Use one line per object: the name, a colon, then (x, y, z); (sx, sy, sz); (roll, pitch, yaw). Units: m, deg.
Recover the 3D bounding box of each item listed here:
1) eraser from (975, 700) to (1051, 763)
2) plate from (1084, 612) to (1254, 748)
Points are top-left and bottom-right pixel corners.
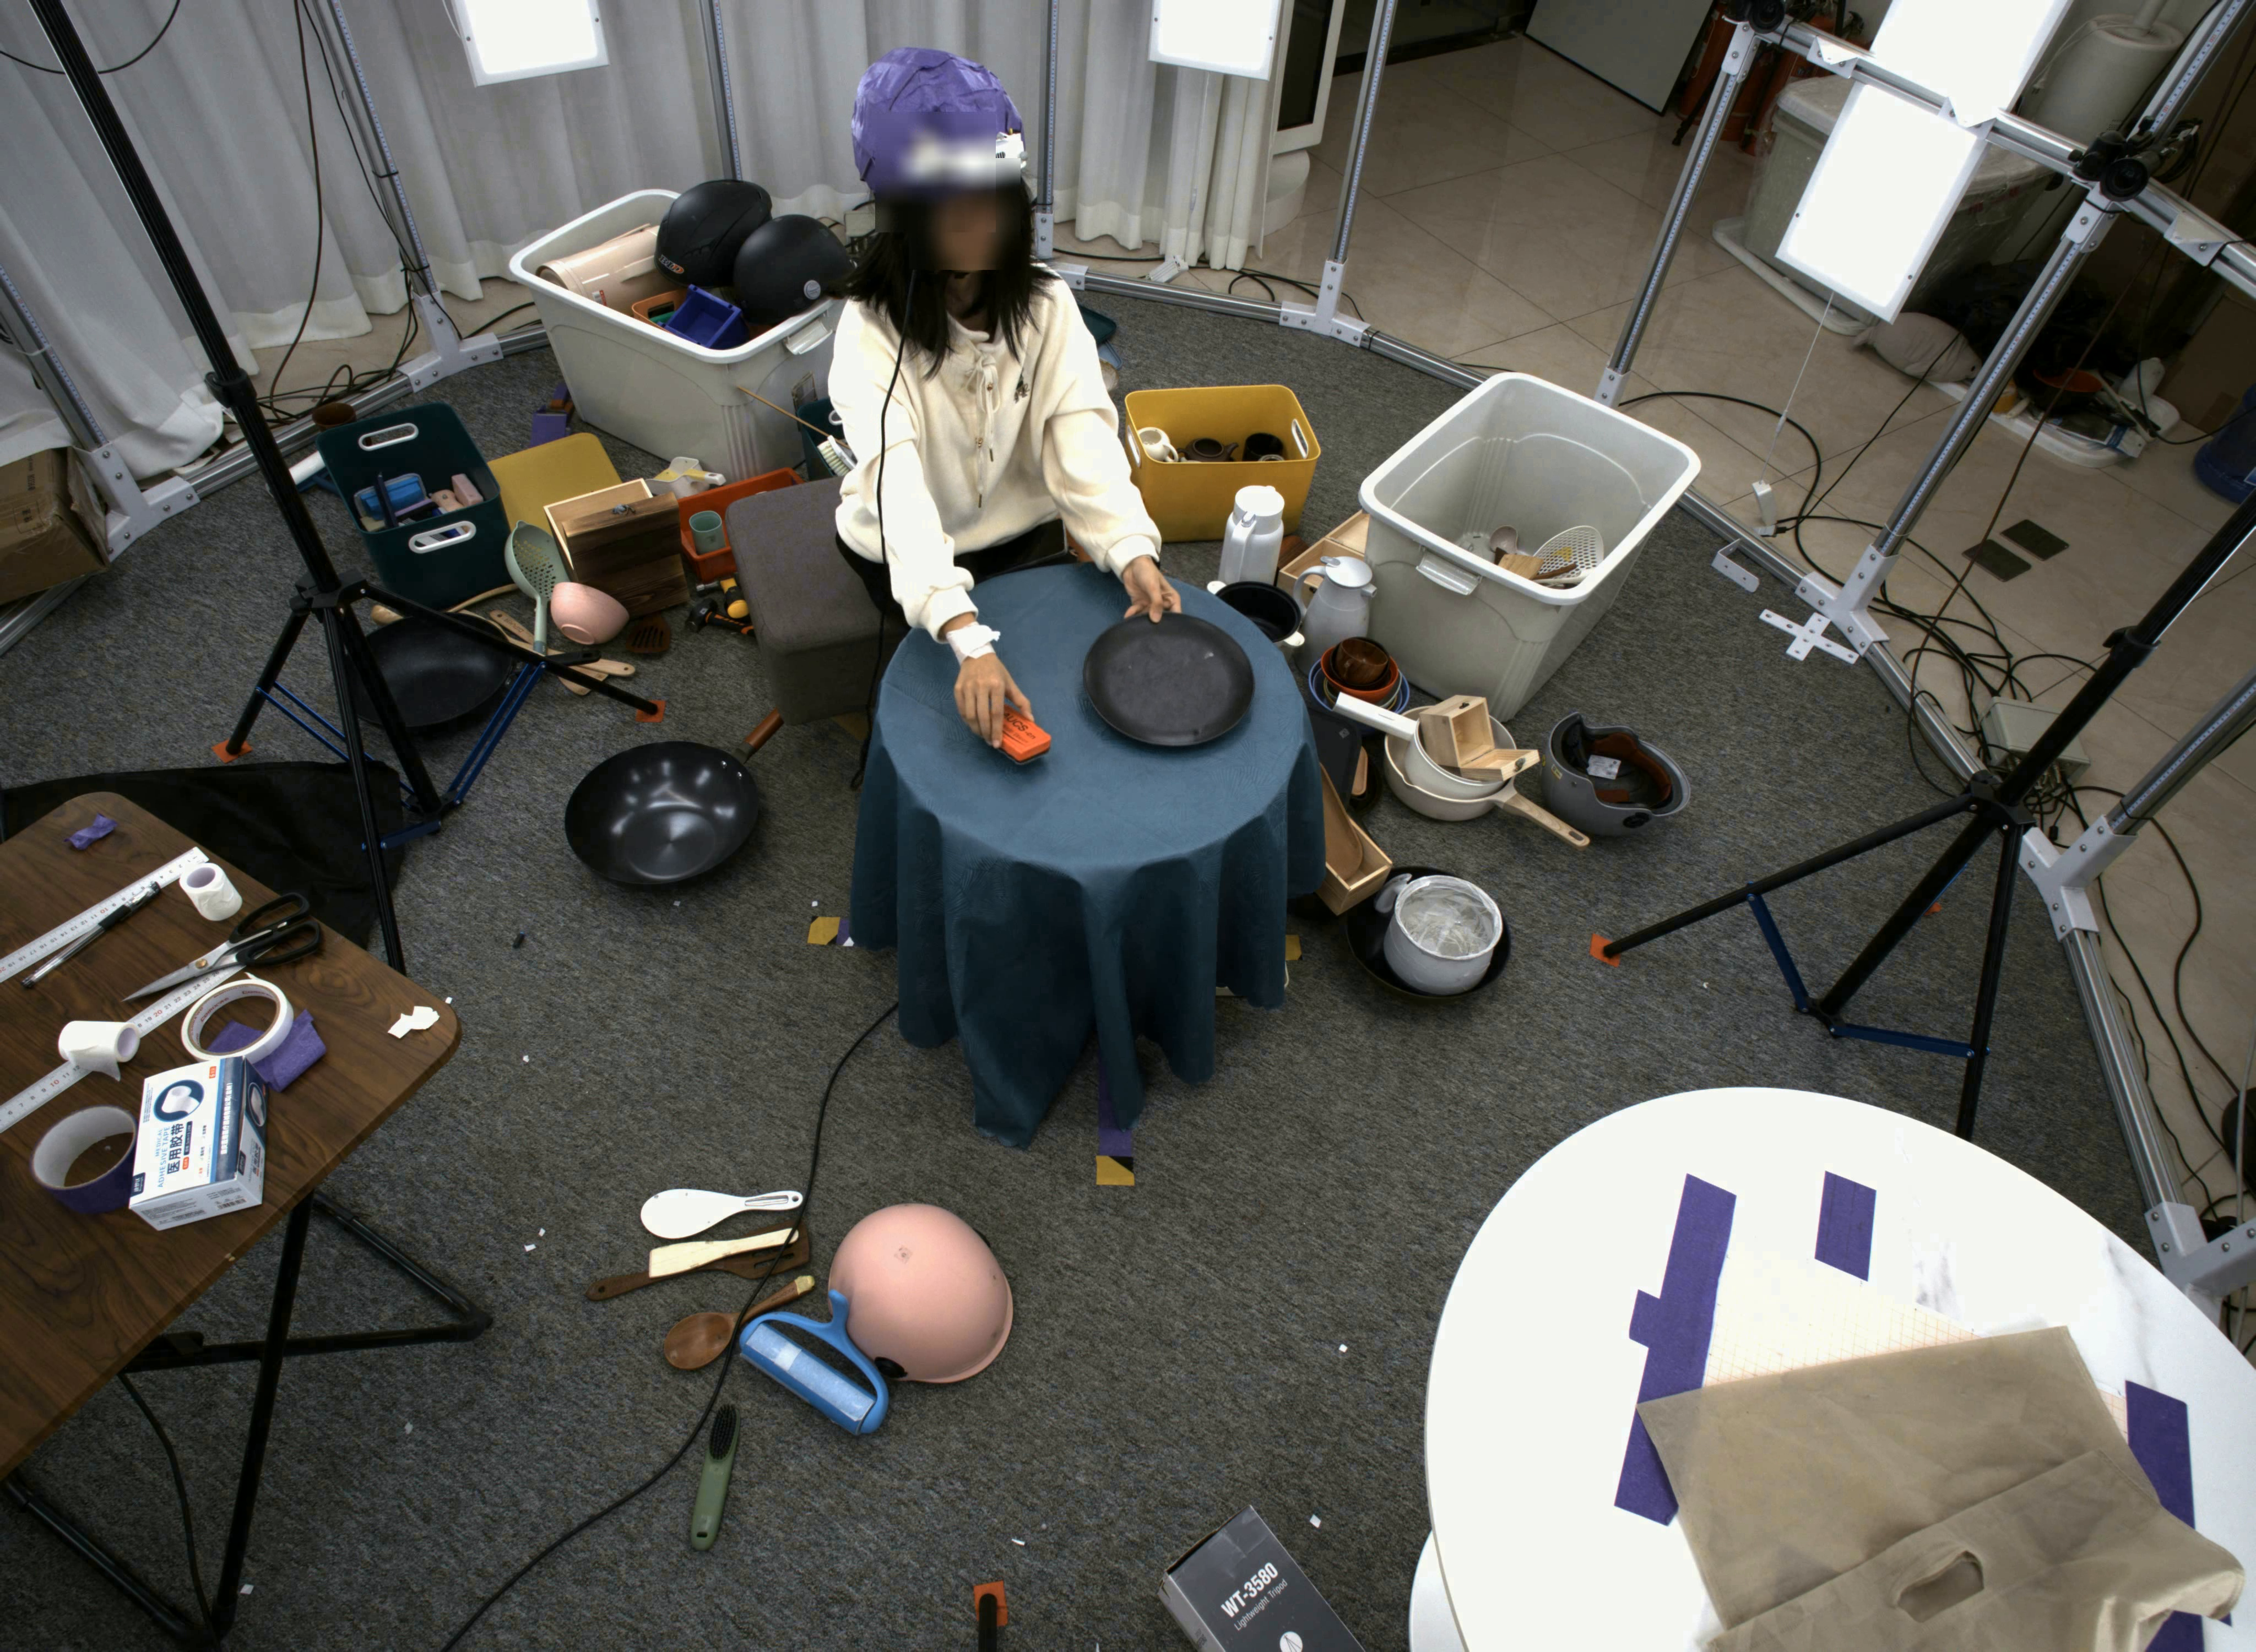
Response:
eraser: (-0.155, -0.128, 1.734); (0.059, 0.022, 0.110); (-27, 49, -30)
plate: (0.058, -0.207, 1.824); (0.244, 0.023, 0.250); (2, 56, -3)
